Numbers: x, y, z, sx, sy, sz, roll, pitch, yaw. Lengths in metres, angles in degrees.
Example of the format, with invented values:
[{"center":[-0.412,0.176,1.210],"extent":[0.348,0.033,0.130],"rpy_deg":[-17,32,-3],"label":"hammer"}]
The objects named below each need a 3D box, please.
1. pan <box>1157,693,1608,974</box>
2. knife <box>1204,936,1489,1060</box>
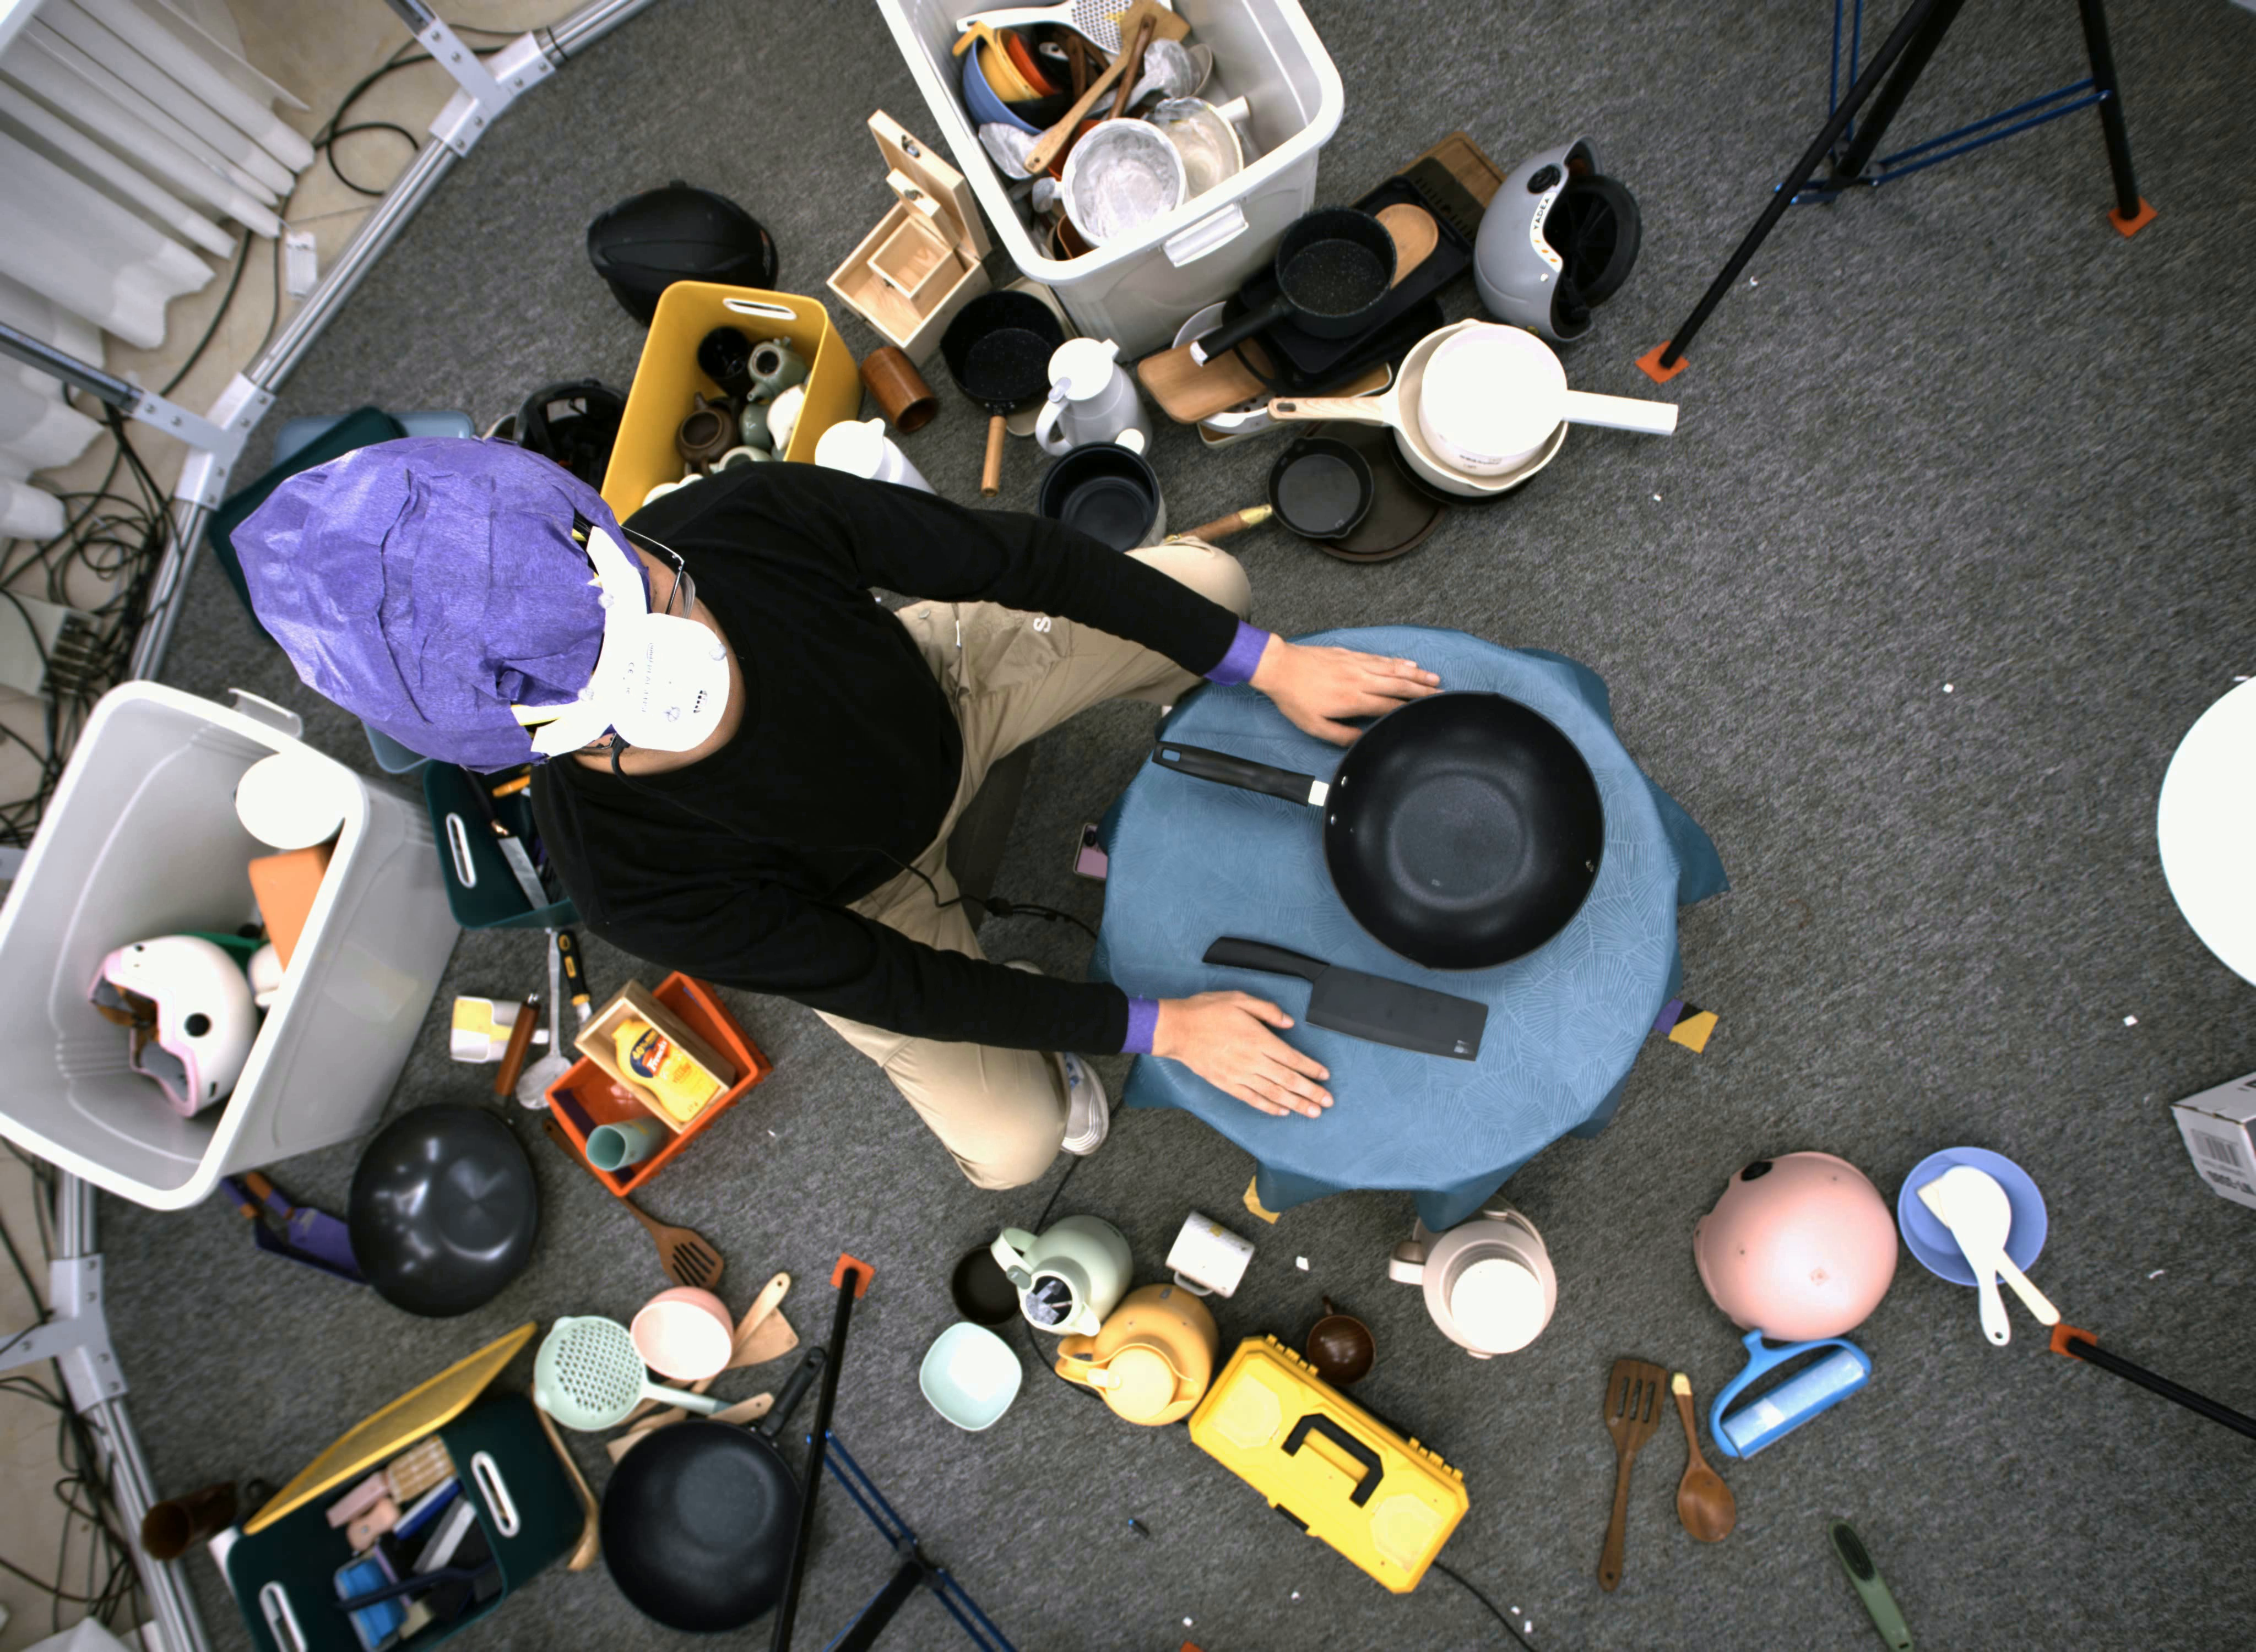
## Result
[{"center":[0.255,-0.016,1.427],"extent":[0.464,0.087,0.288],"rpy_deg":[16,90,12],"label":"pan"},{"center":[0.227,0.176,1.458],"extent":[0.302,0.021,0.081],"rpy_deg":[18,91,9],"label":"knife"}]
